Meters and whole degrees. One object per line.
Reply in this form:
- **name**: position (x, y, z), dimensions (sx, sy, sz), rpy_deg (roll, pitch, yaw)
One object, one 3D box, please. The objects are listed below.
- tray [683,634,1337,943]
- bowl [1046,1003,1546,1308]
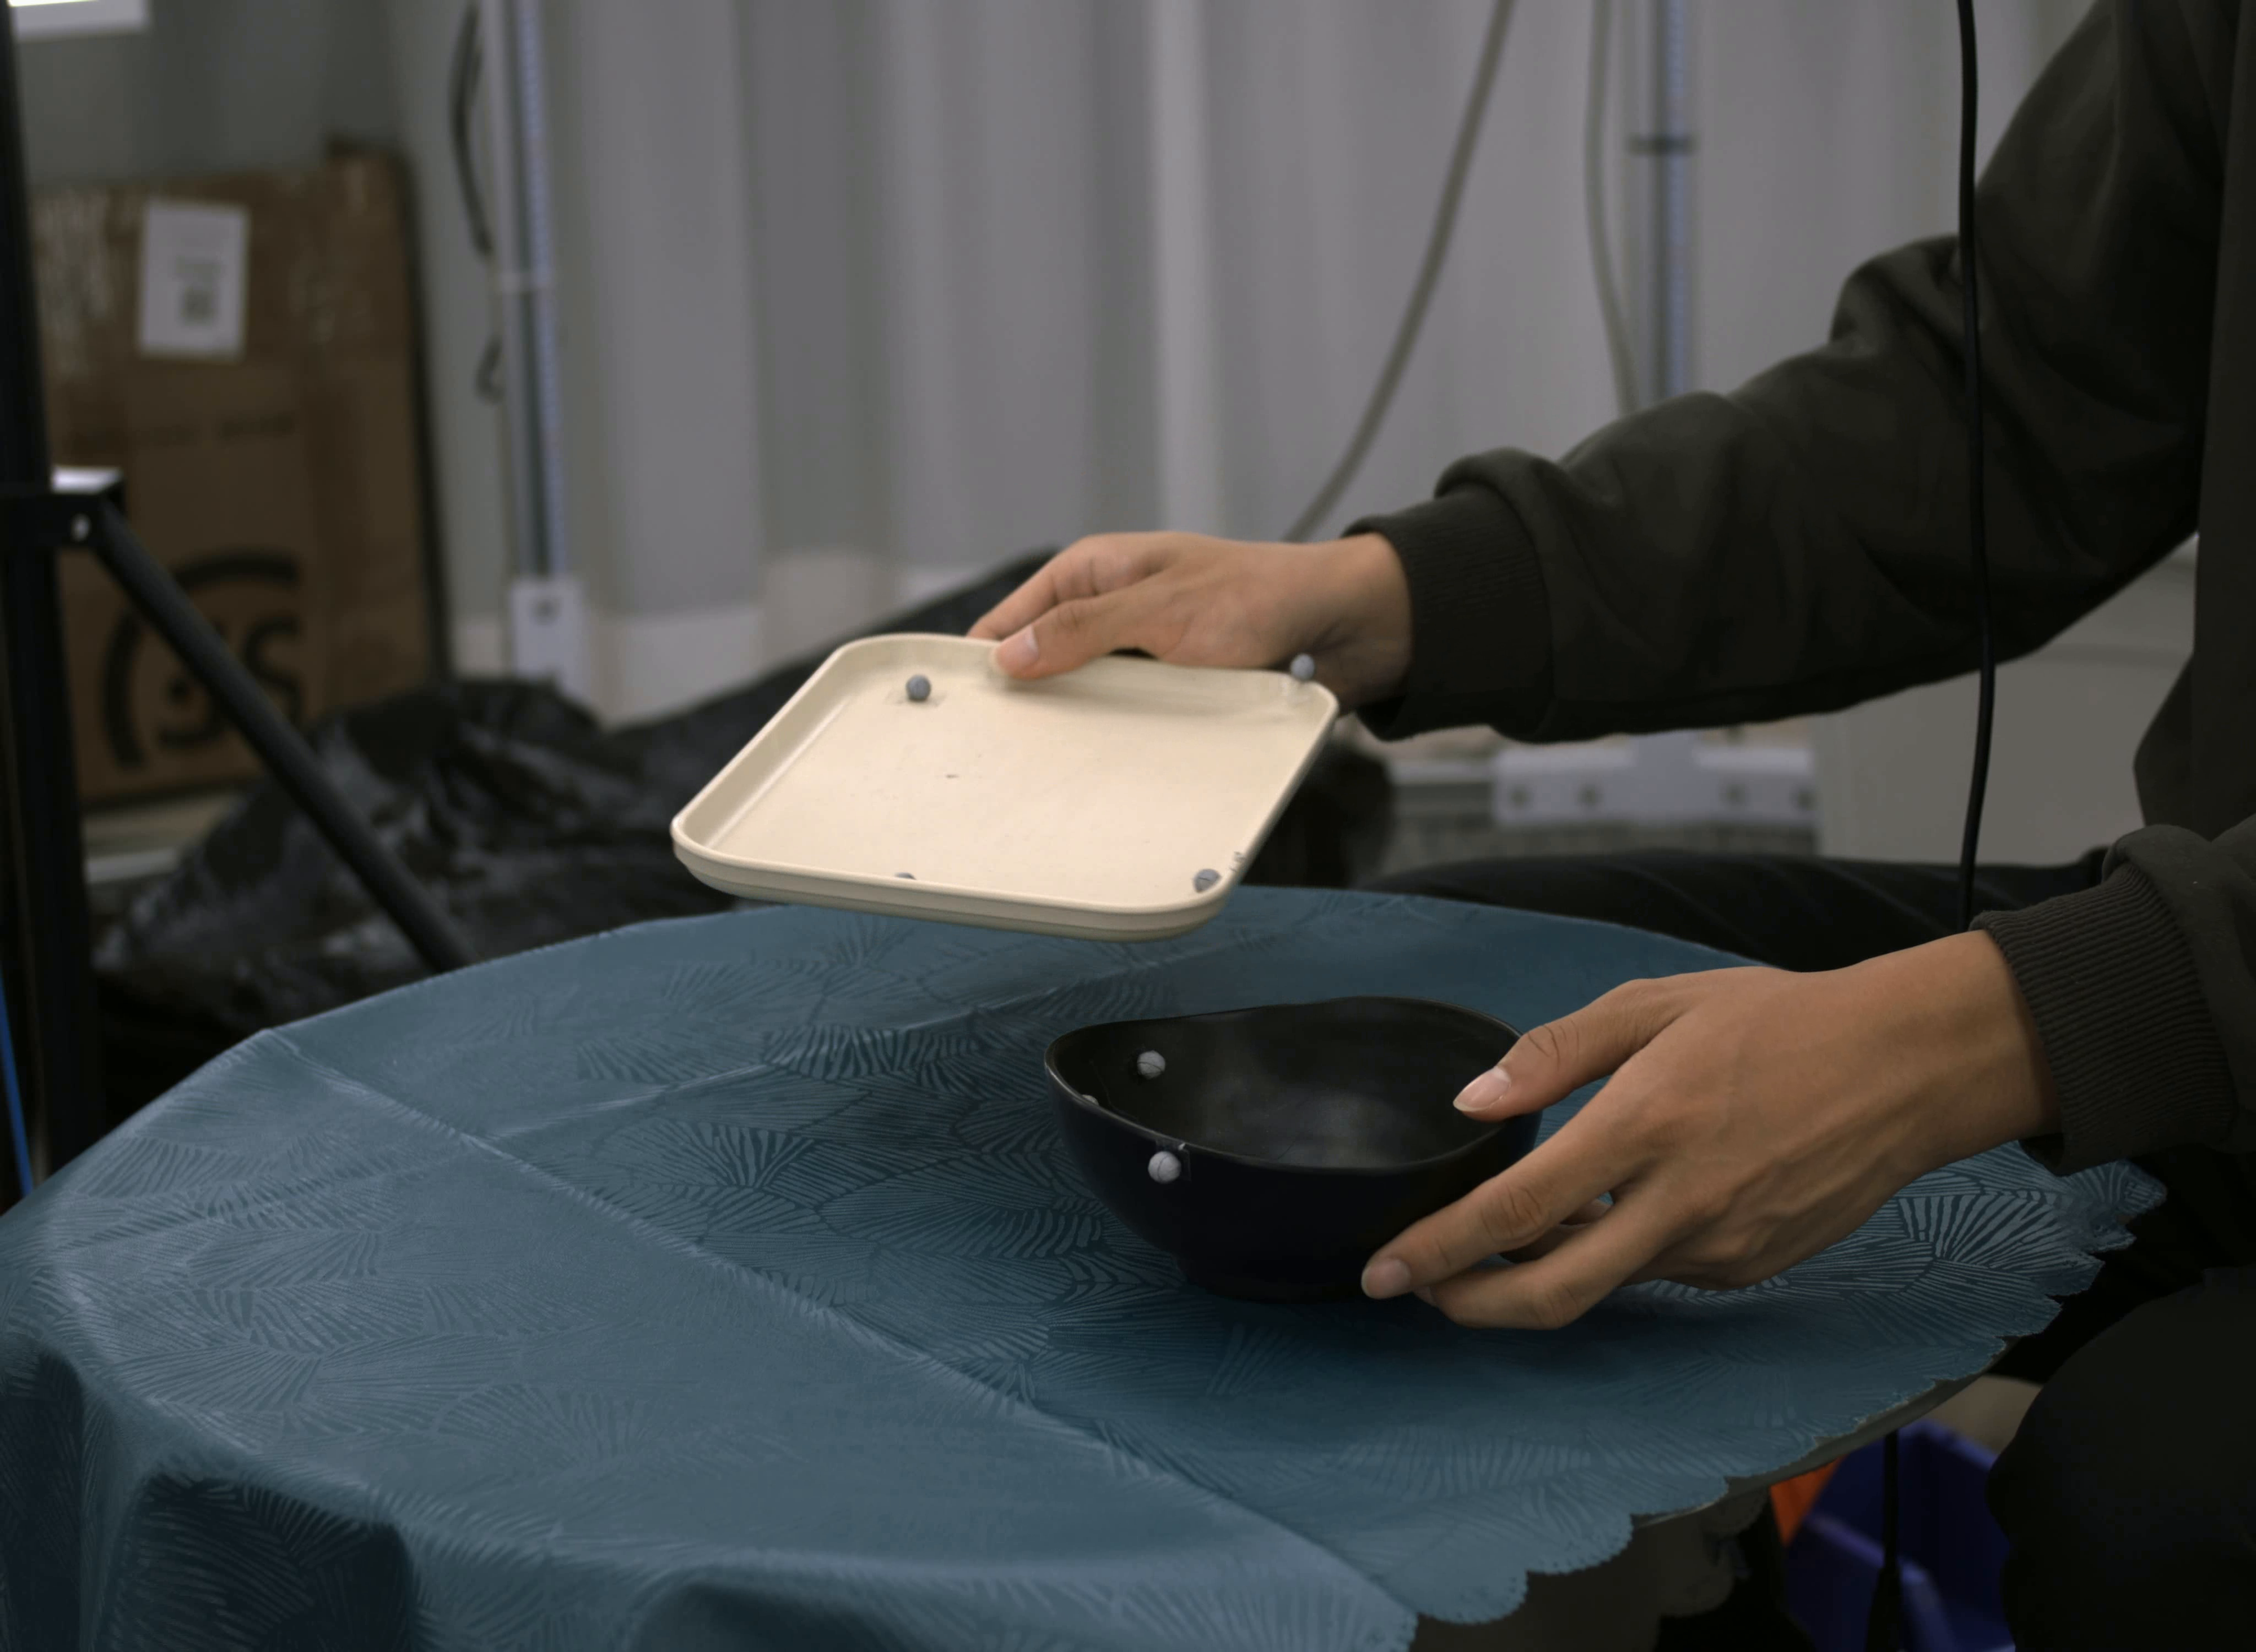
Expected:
- **tray**: position (-0.032, -0.013, 1.660), dimensions (0.172, 0.017, 0.238), rpy_deg (6, 20, 12)
- **bowl**: position (0.046, 0.095, 1.488), dimensions (0.135, 0.067, 0.173), rpy_deg (-5, 14, -16)
